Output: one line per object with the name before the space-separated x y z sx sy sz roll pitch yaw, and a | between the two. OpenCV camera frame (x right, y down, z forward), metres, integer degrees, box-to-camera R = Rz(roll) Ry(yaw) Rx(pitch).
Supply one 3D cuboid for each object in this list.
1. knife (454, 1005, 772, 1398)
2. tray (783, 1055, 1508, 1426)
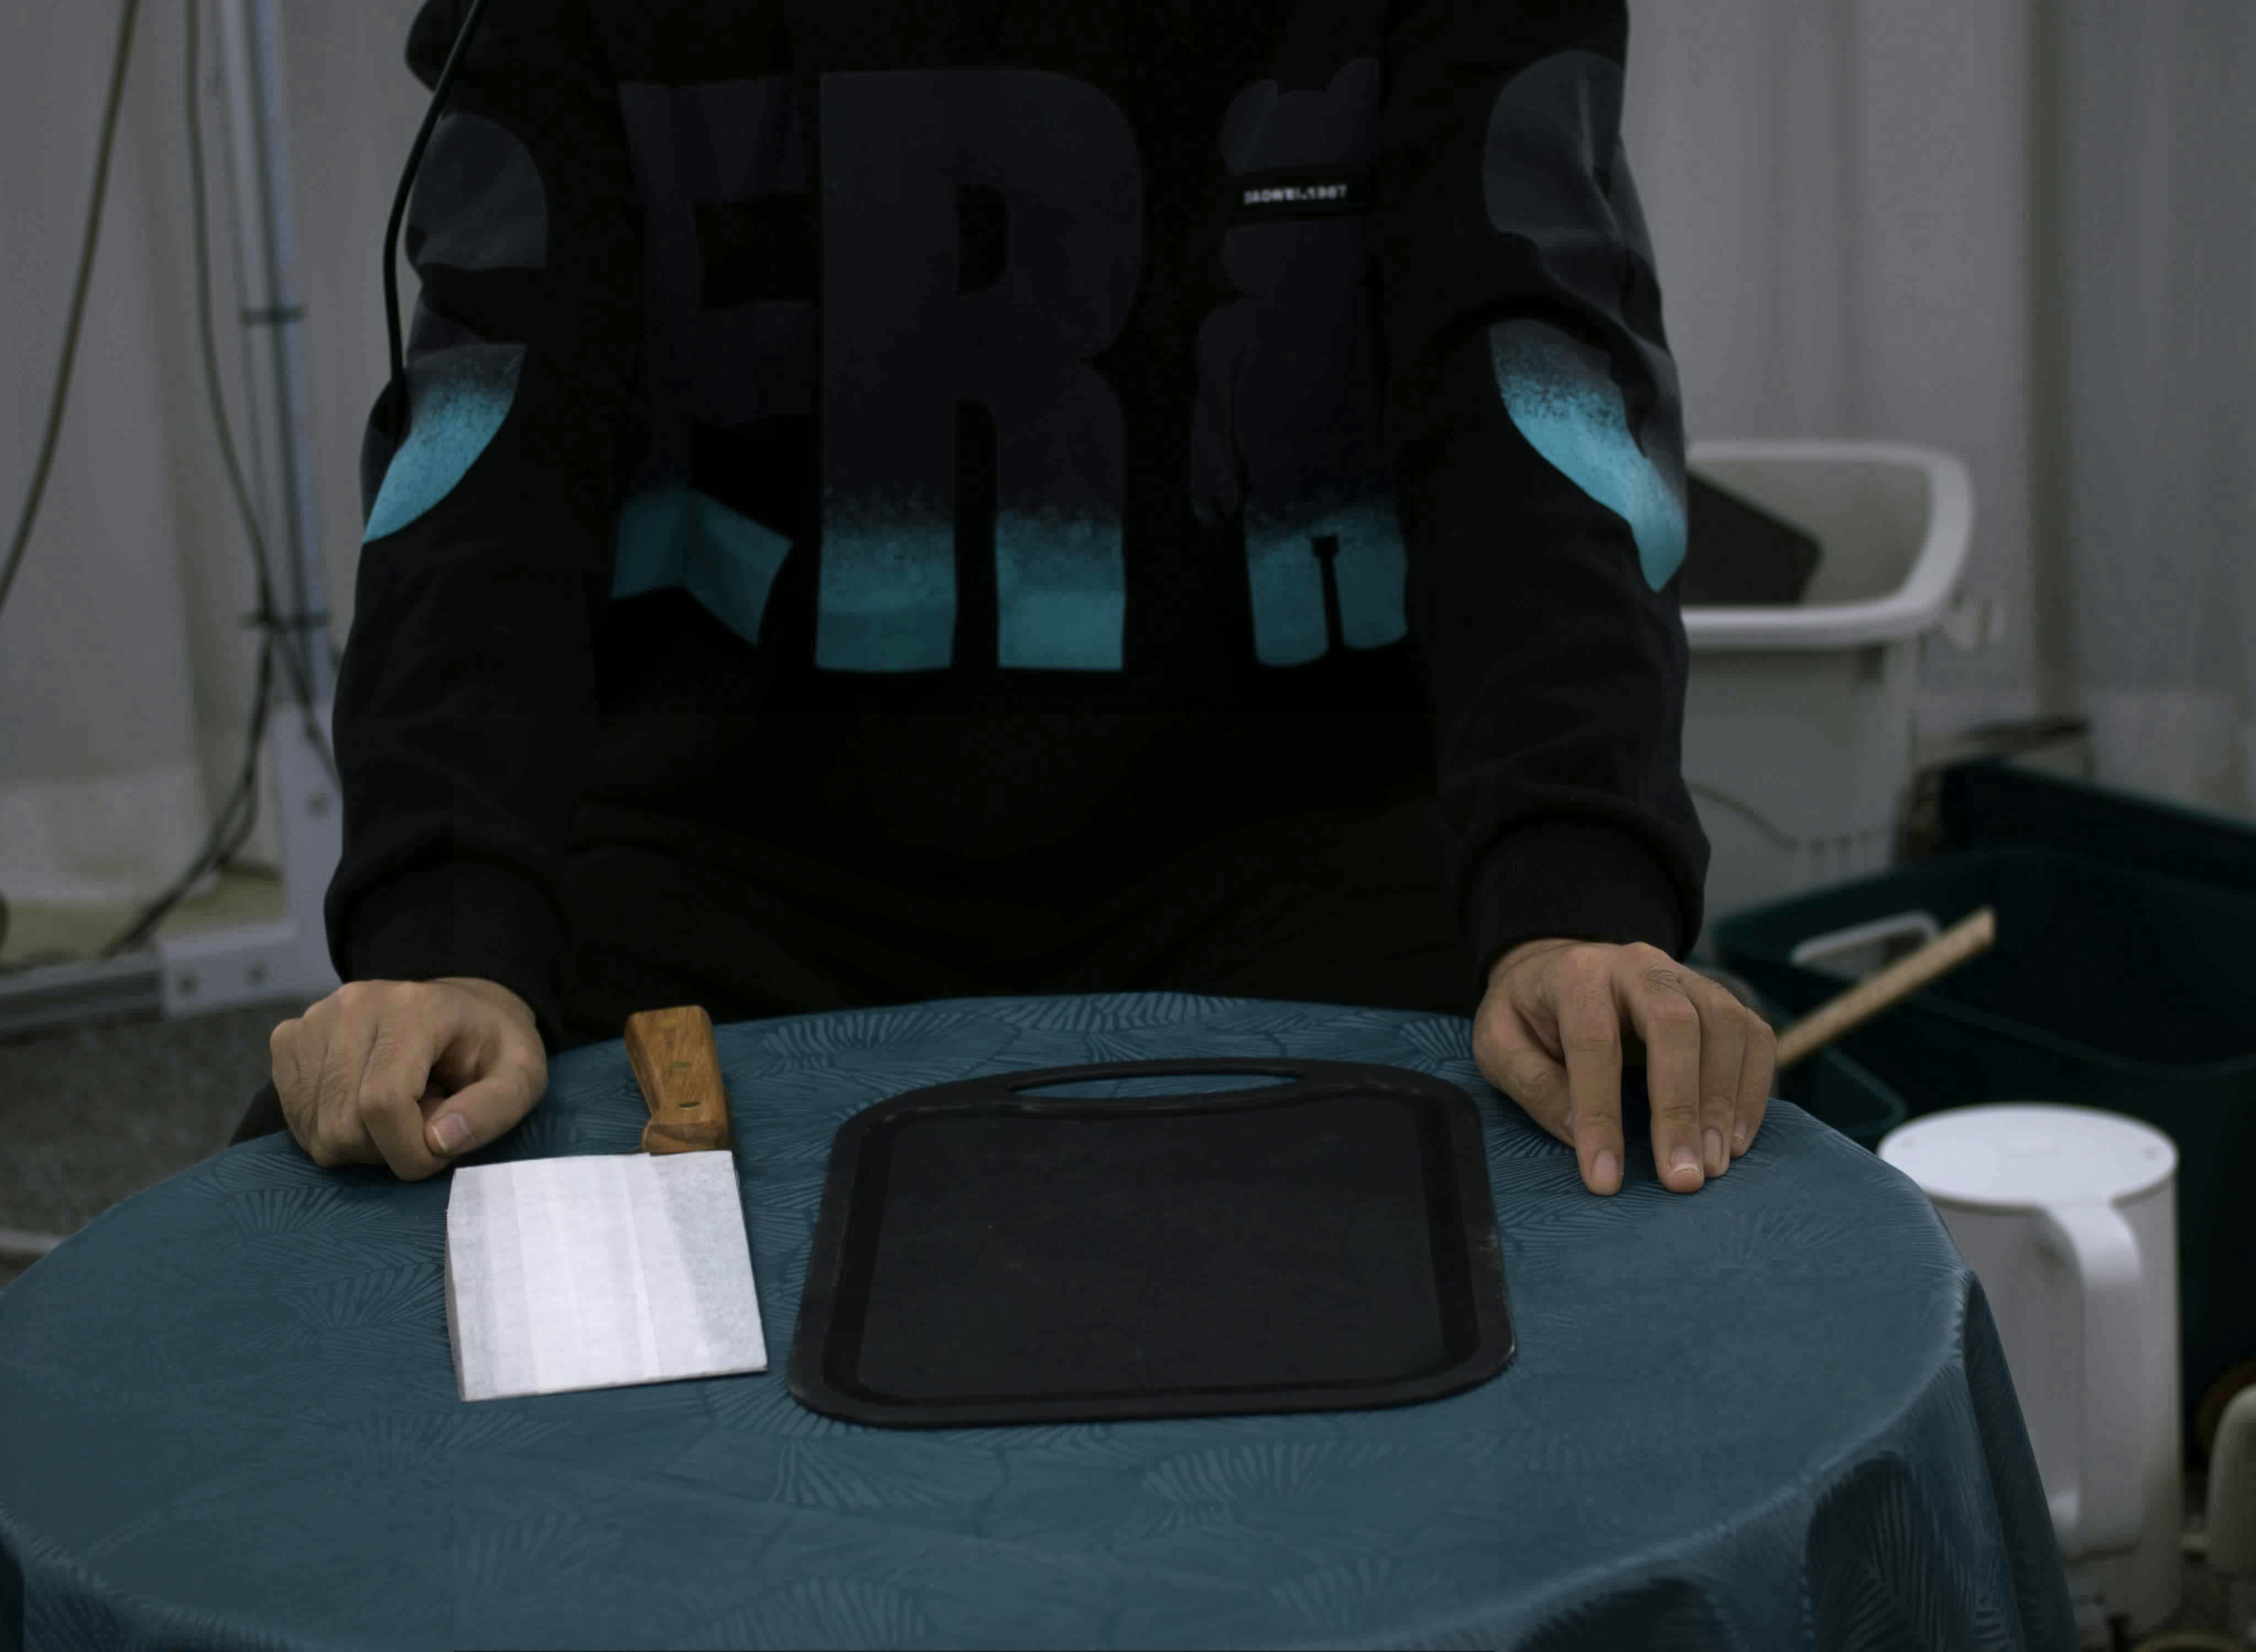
knife | -0.165 0.116 1.713 0.092 0.021 0.308 -6 18 -6
tray | 0.007 0.120 1.679 0.210 0.010 0.327 -2 15 2
